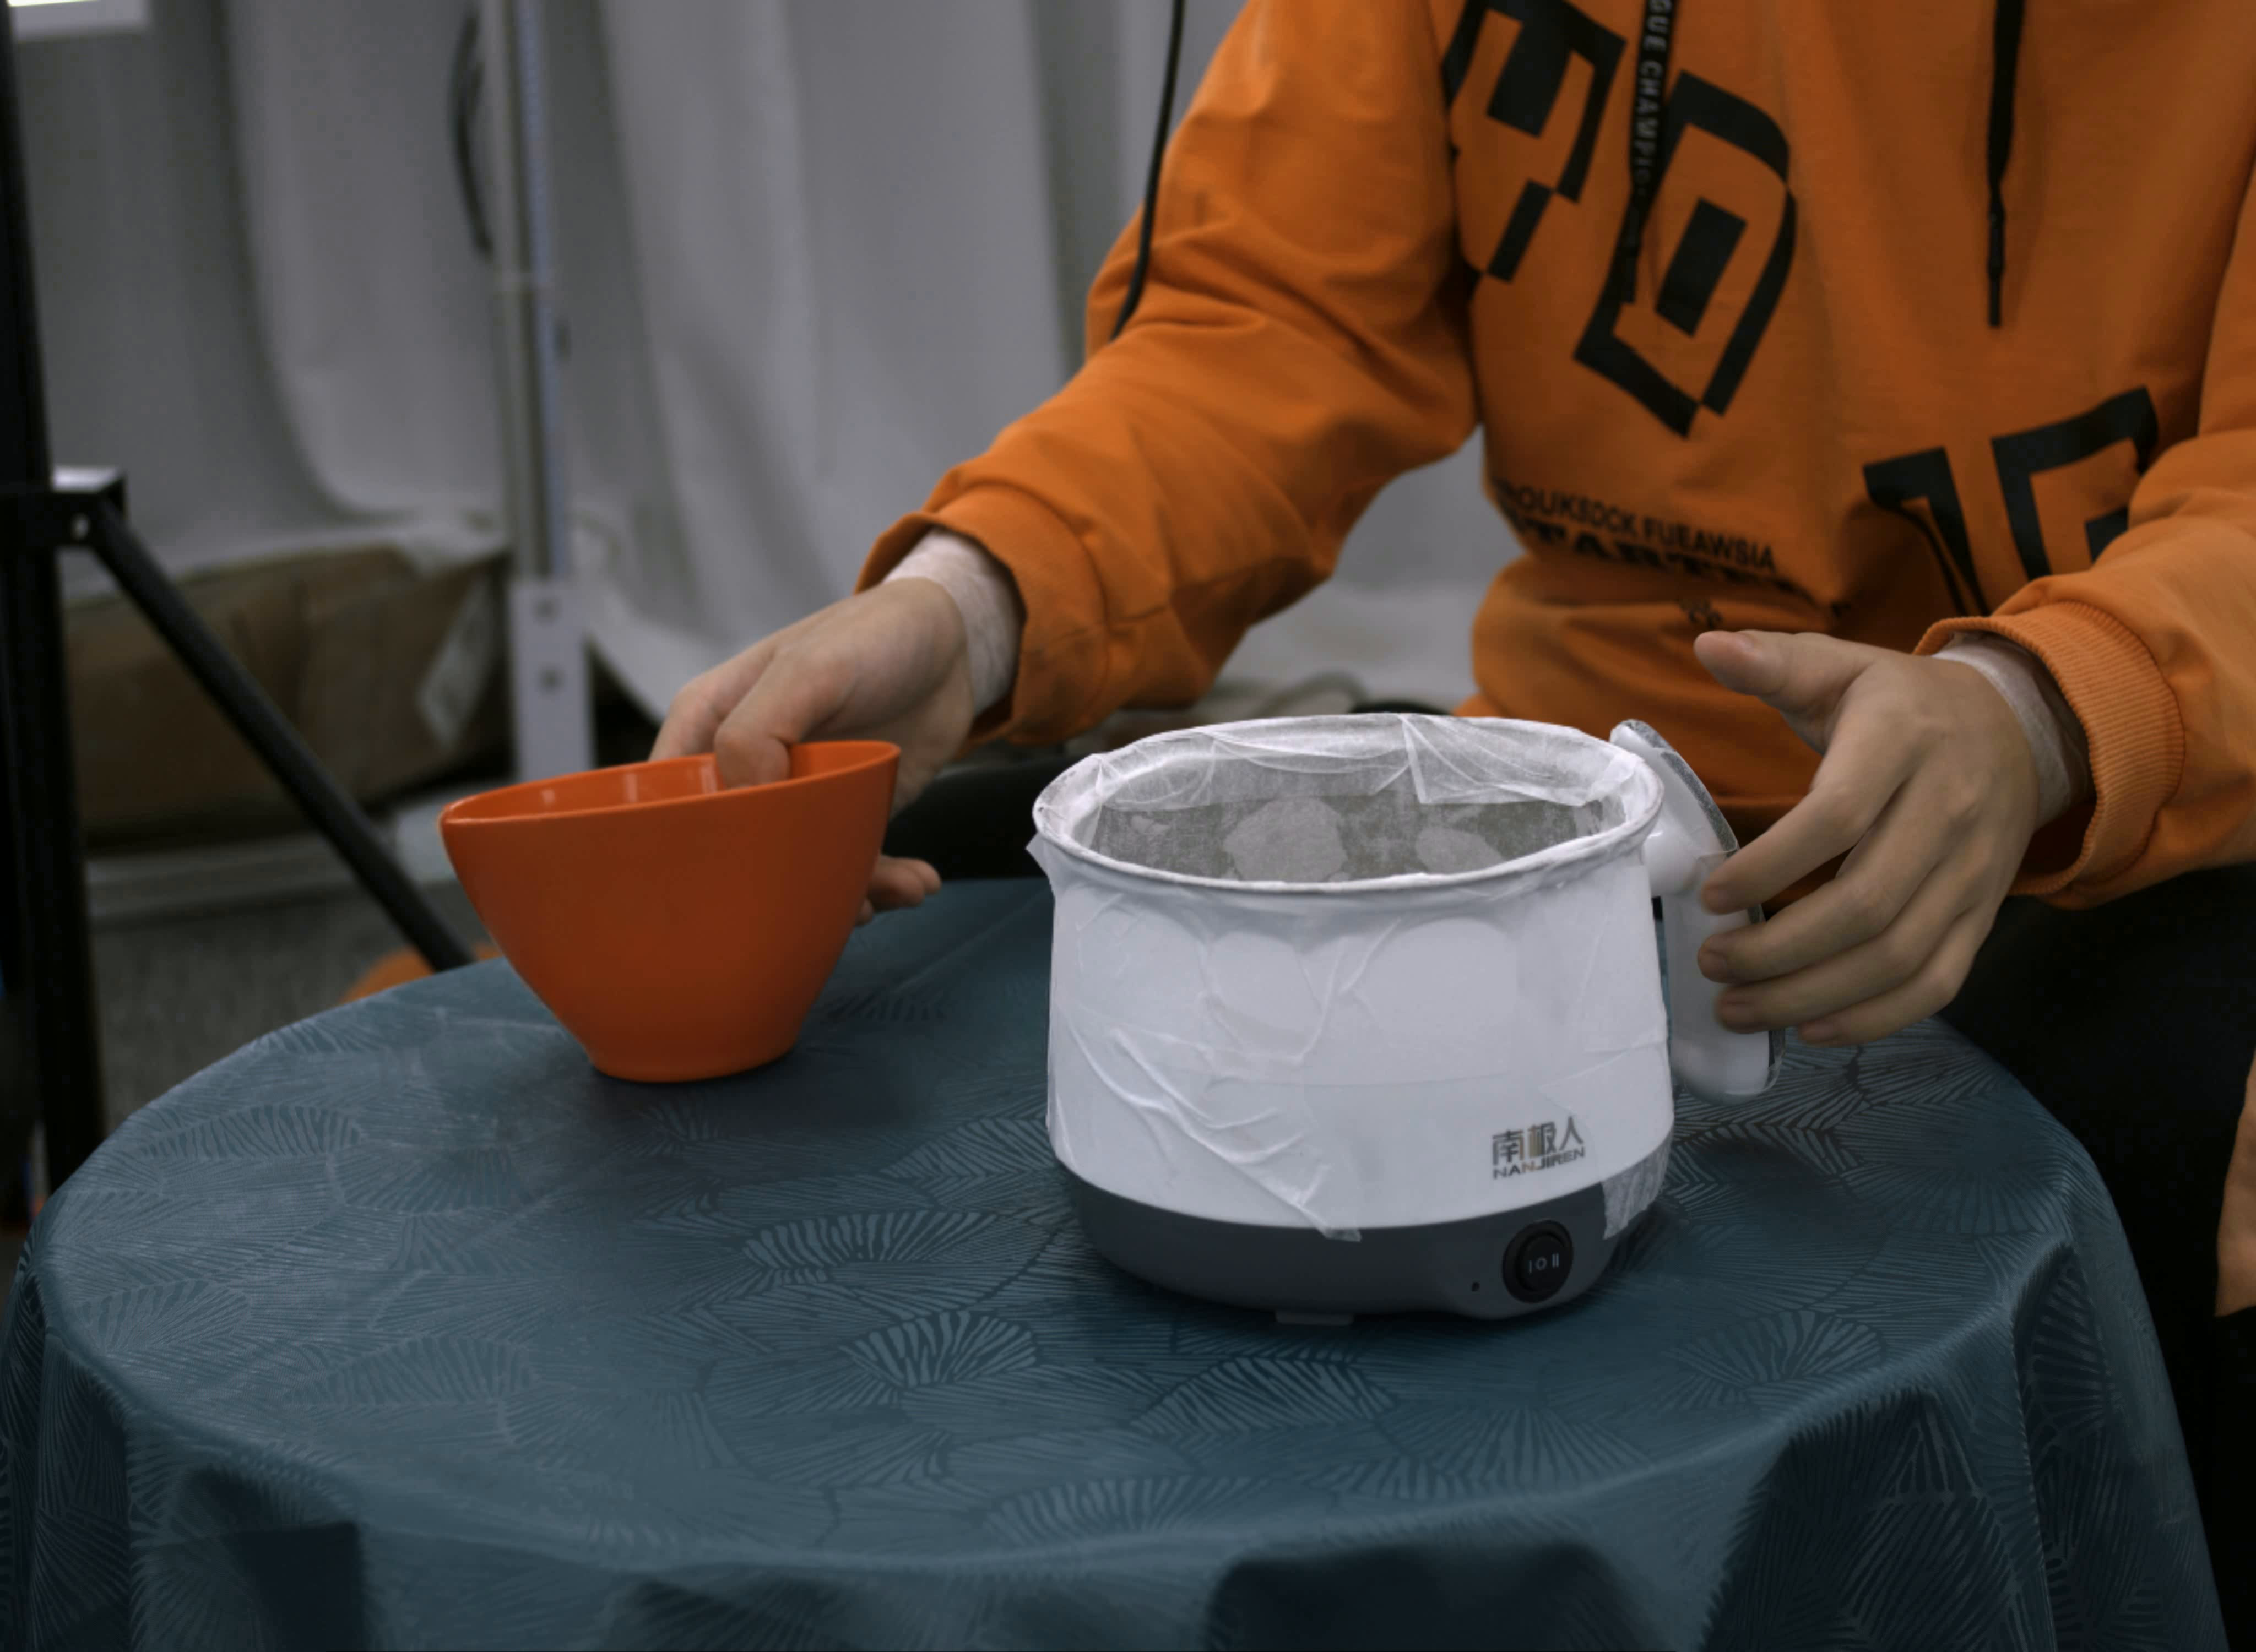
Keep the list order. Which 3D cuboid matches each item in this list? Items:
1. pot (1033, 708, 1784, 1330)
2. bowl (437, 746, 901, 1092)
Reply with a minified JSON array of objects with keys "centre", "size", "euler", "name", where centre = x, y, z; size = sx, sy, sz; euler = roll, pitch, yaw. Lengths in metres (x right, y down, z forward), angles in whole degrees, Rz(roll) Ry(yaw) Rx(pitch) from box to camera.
[{"centre":[0.087,0.047,1.505],"size":[0.228,0.136,0.183],"euler":[-12,19,-30],"name":"pot"},{"centre":[-0.139,0.028,1.680],"size":[0.147,0.104,0.149],"euler":[-7,15,0],"name":"bowl"}]
